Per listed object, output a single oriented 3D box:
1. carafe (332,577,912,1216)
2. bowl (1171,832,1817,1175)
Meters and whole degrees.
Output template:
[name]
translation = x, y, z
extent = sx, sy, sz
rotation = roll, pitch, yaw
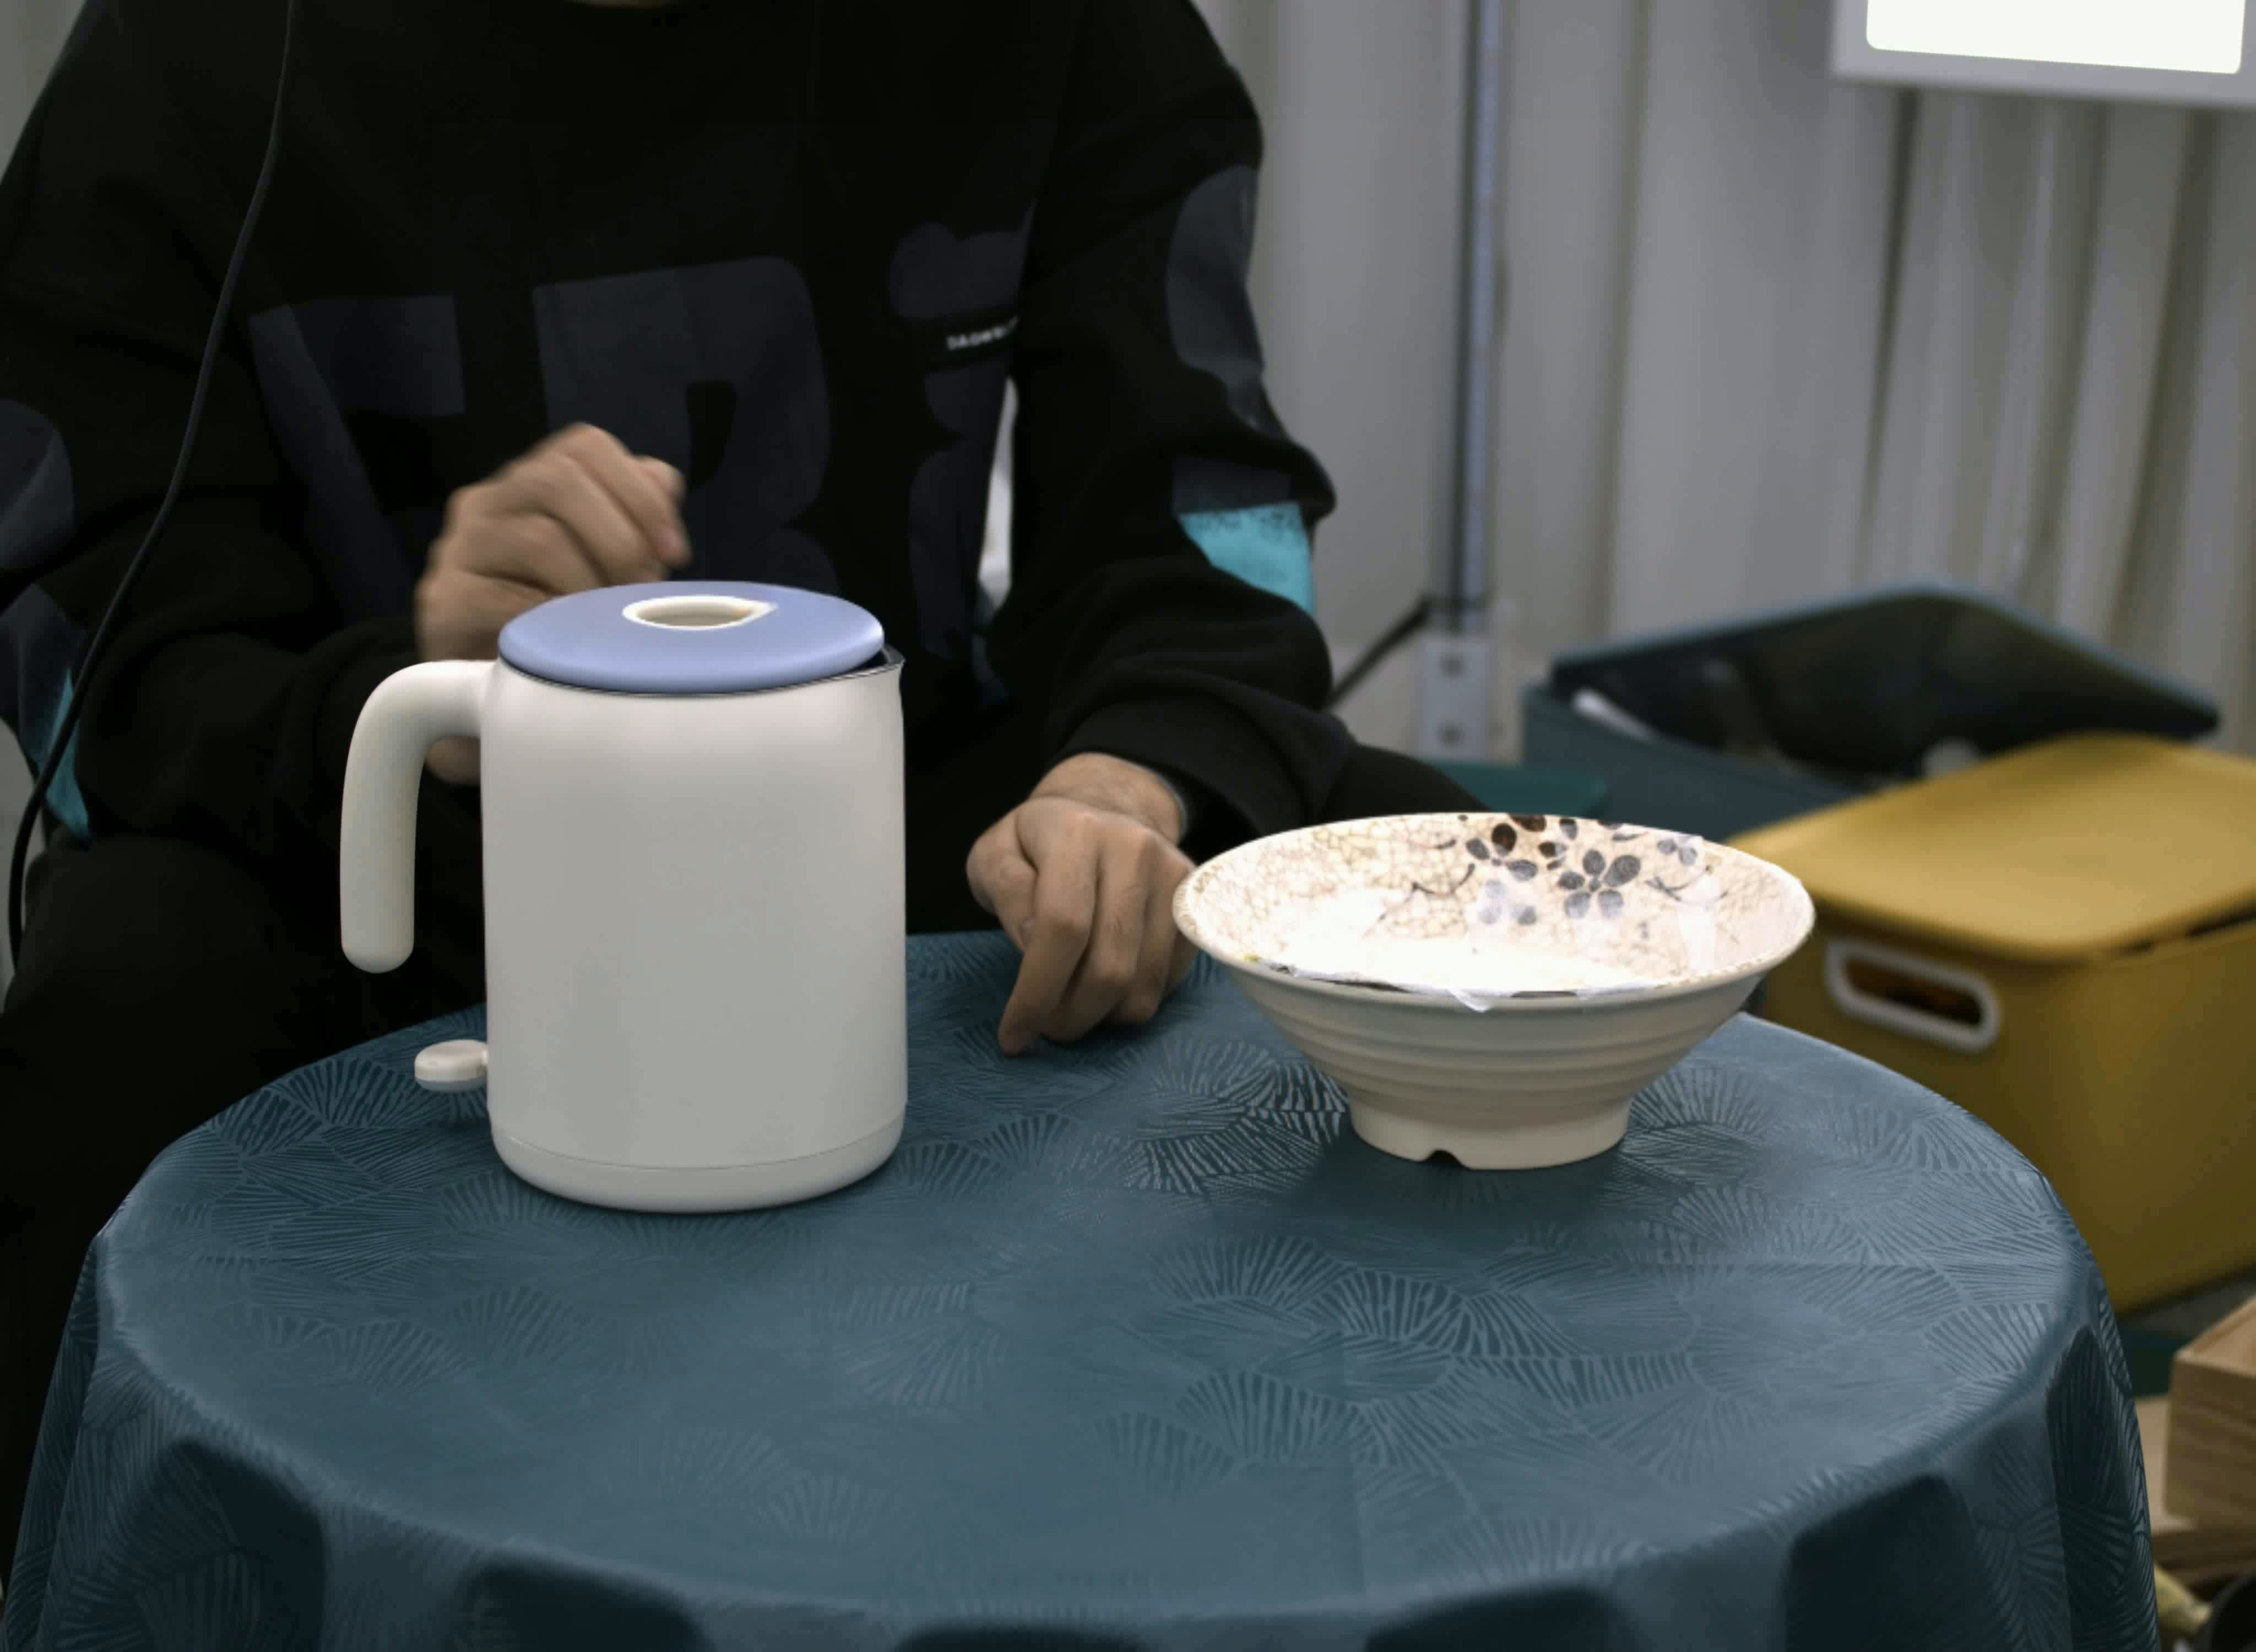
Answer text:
[carafe]
translation = -0.157, 0.020, 1.630
extent = 0.189, 0.184, 0.132
rotation = 2, 15, 14
[bowl]
translation = 0.115, 0.061, 1.667
extent = 0.203, 0.078, 0.203
rotation = 0, 13, 0
